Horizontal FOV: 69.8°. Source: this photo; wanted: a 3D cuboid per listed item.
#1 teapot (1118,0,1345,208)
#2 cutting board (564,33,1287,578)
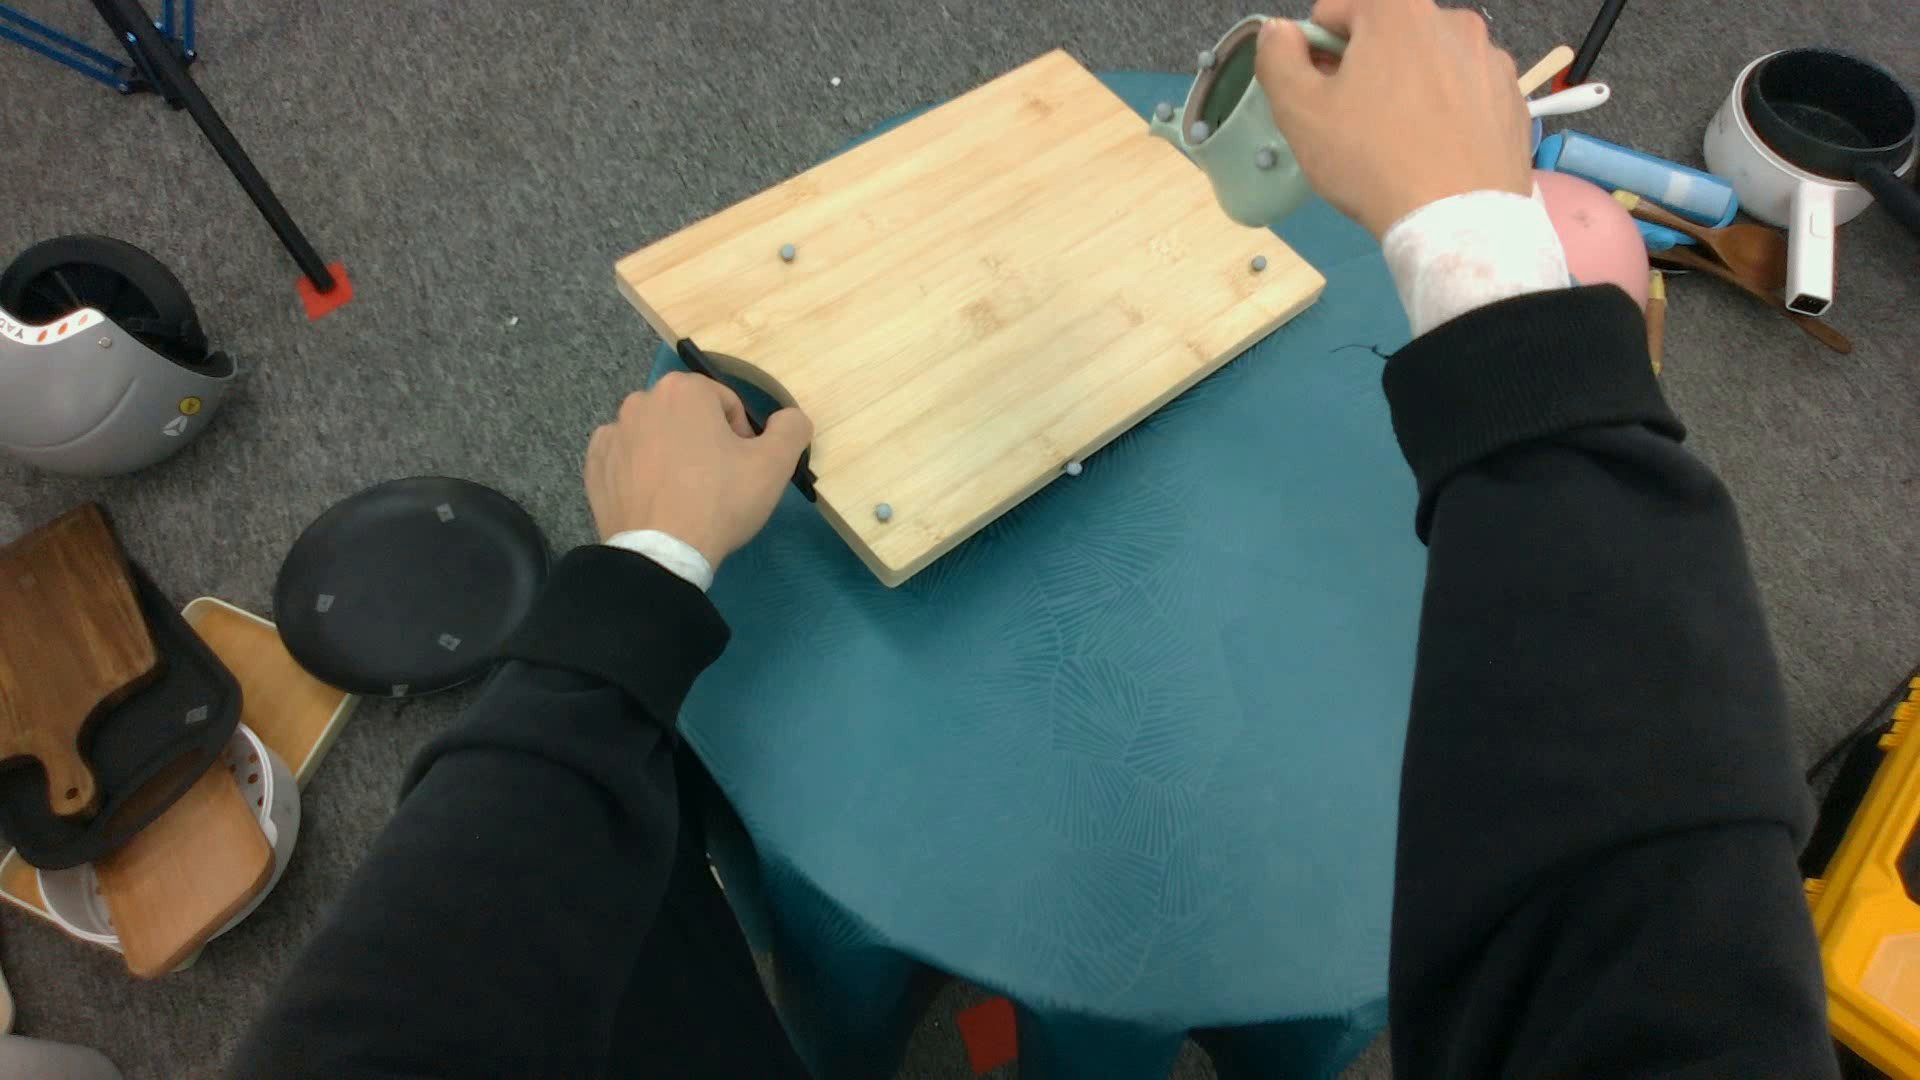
[{"bbox_3d":[0.125,-0.199,0.605,0.061,0.136,0.096,20,81,-19],"label":"teapot"},{"bbox_3d":[-0.007,-0.154,0.788,0.350,0.023,0.251,-36,71,-28],"label":"cutting board"}]
